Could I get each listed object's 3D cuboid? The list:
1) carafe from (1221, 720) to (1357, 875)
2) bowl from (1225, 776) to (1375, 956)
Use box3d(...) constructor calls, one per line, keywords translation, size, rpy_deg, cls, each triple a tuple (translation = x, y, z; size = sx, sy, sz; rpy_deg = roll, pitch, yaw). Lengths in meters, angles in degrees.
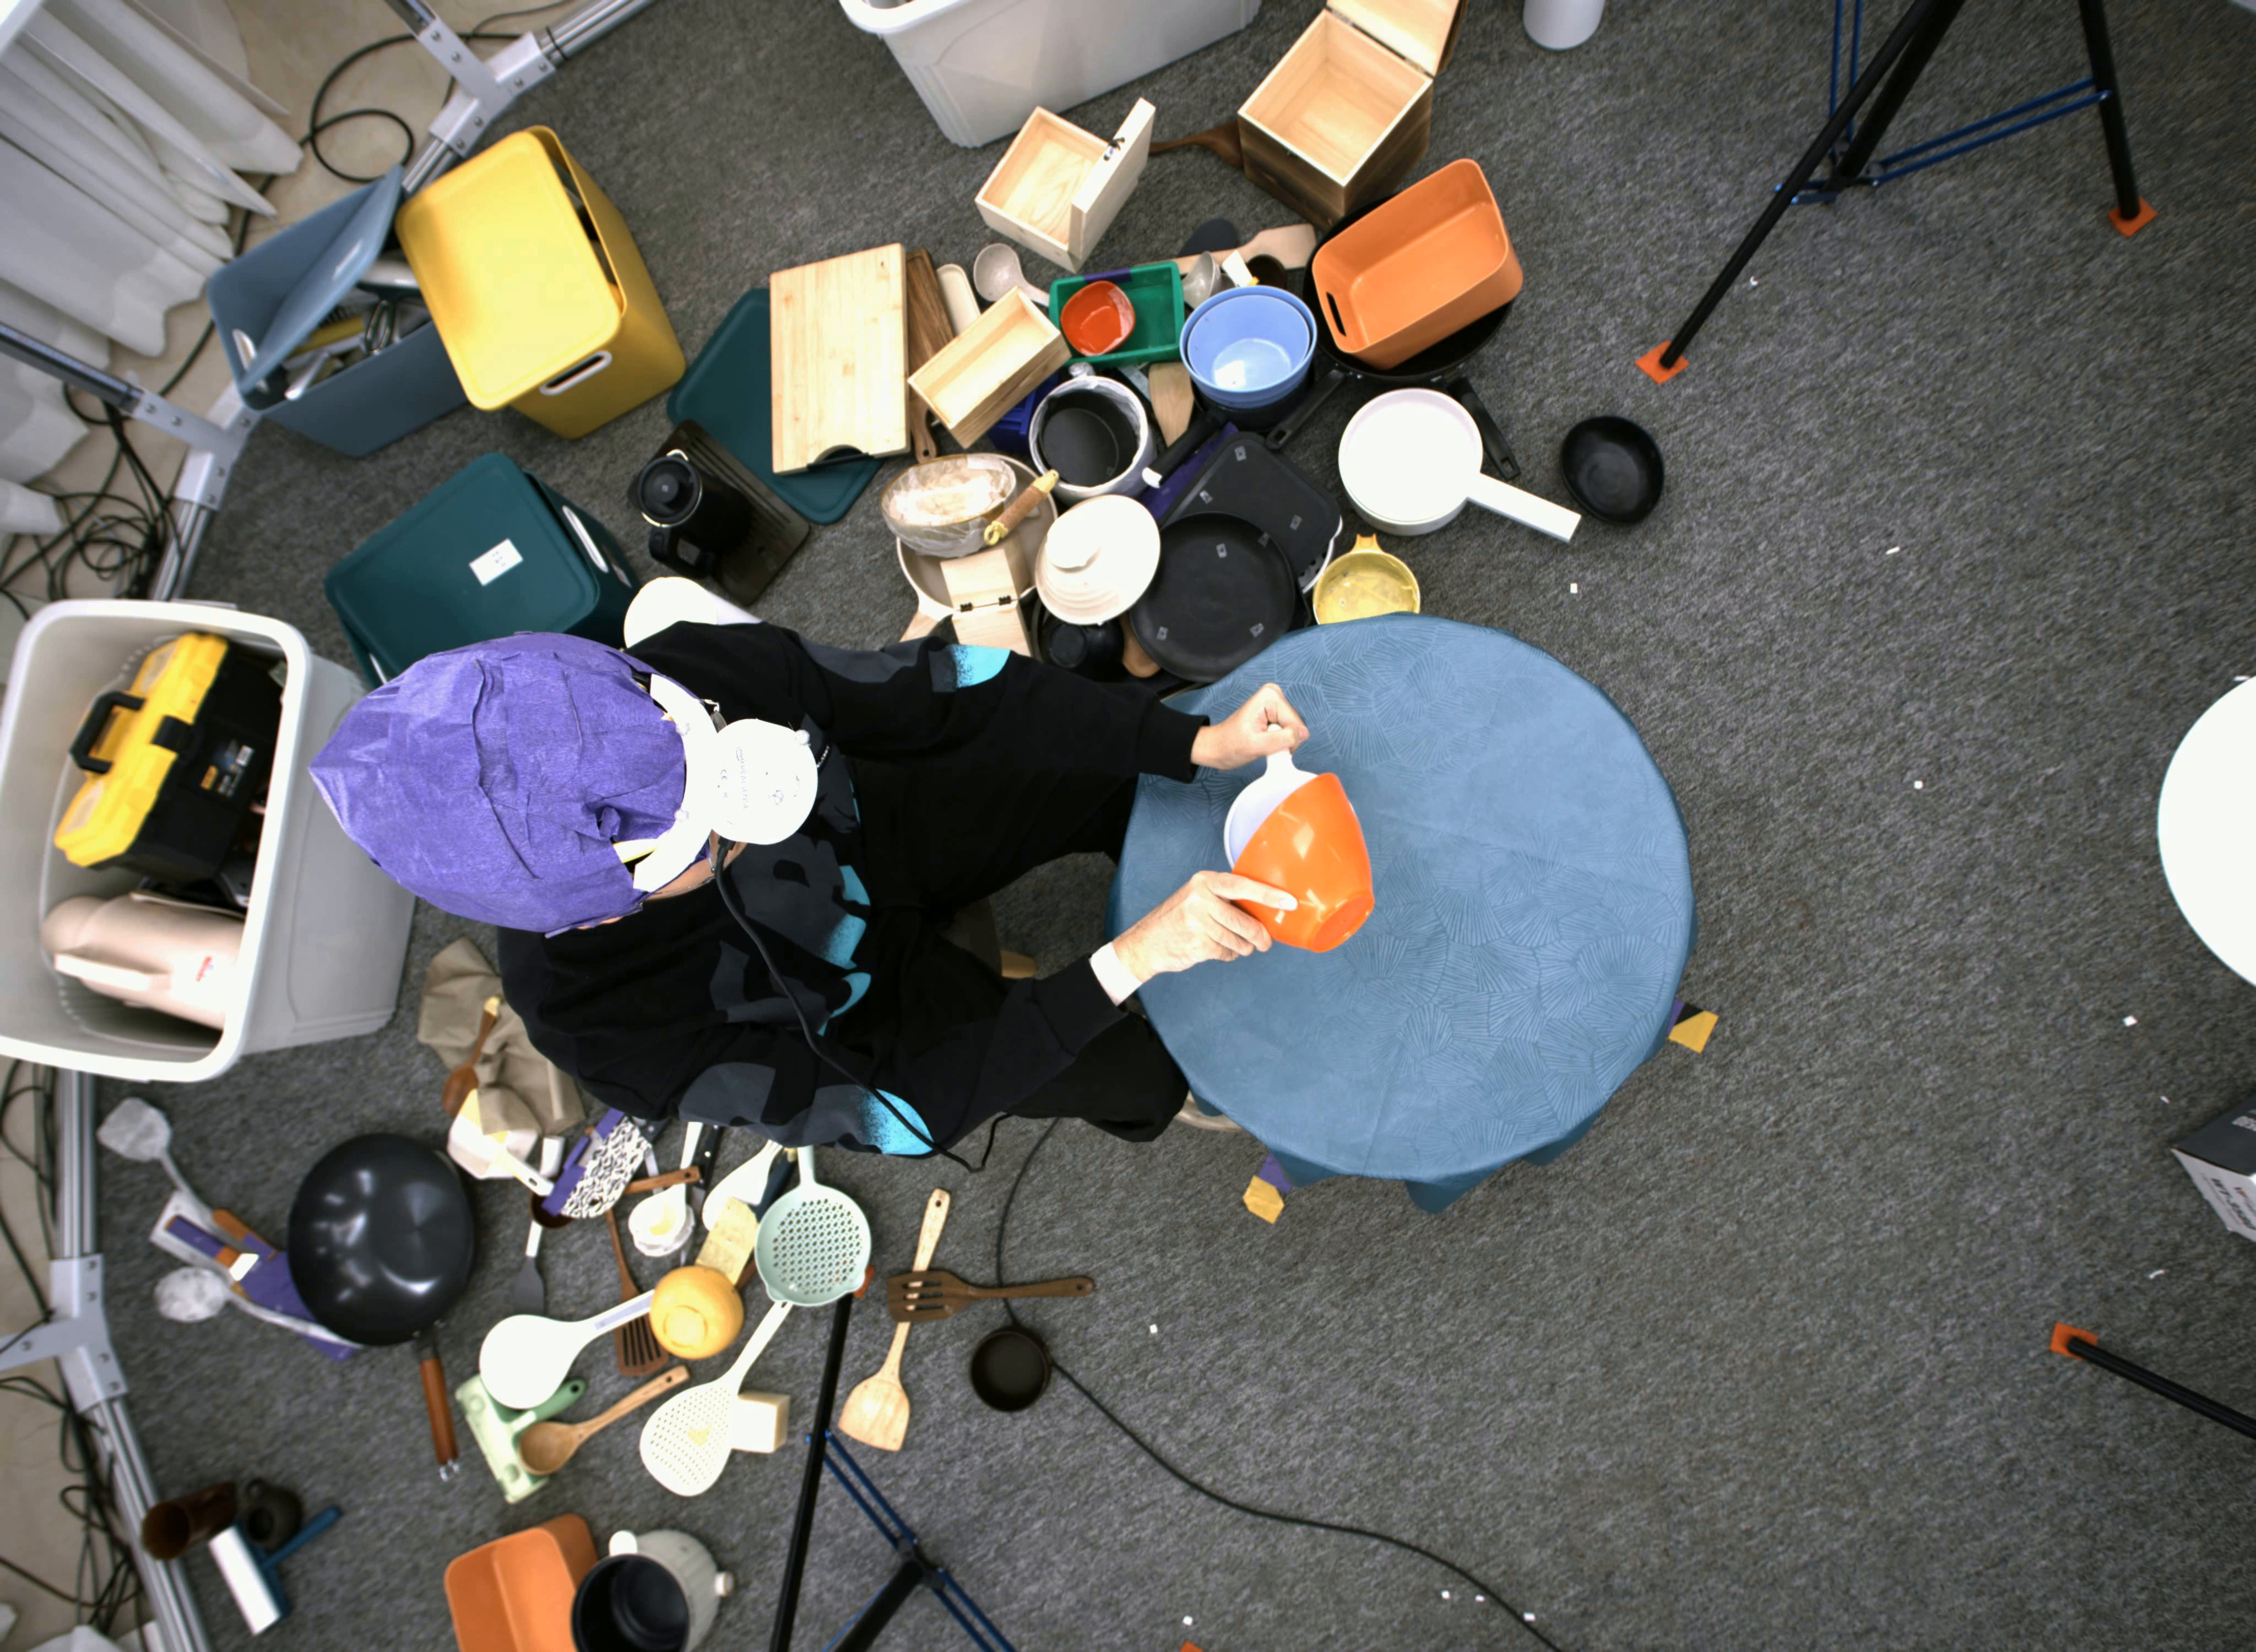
box3d(translation=(0.156, -0.014, 1.375), size=(0.133, 0.182, 0.191), rpy_deg=(-11, 89, 6), cls="carafe")
box3d(translation=(0.158, 0.043, 1.159), size=(0.148, 0.149, 0.103), rpy_deg=(-42, 61, 4), cls="bowl")
